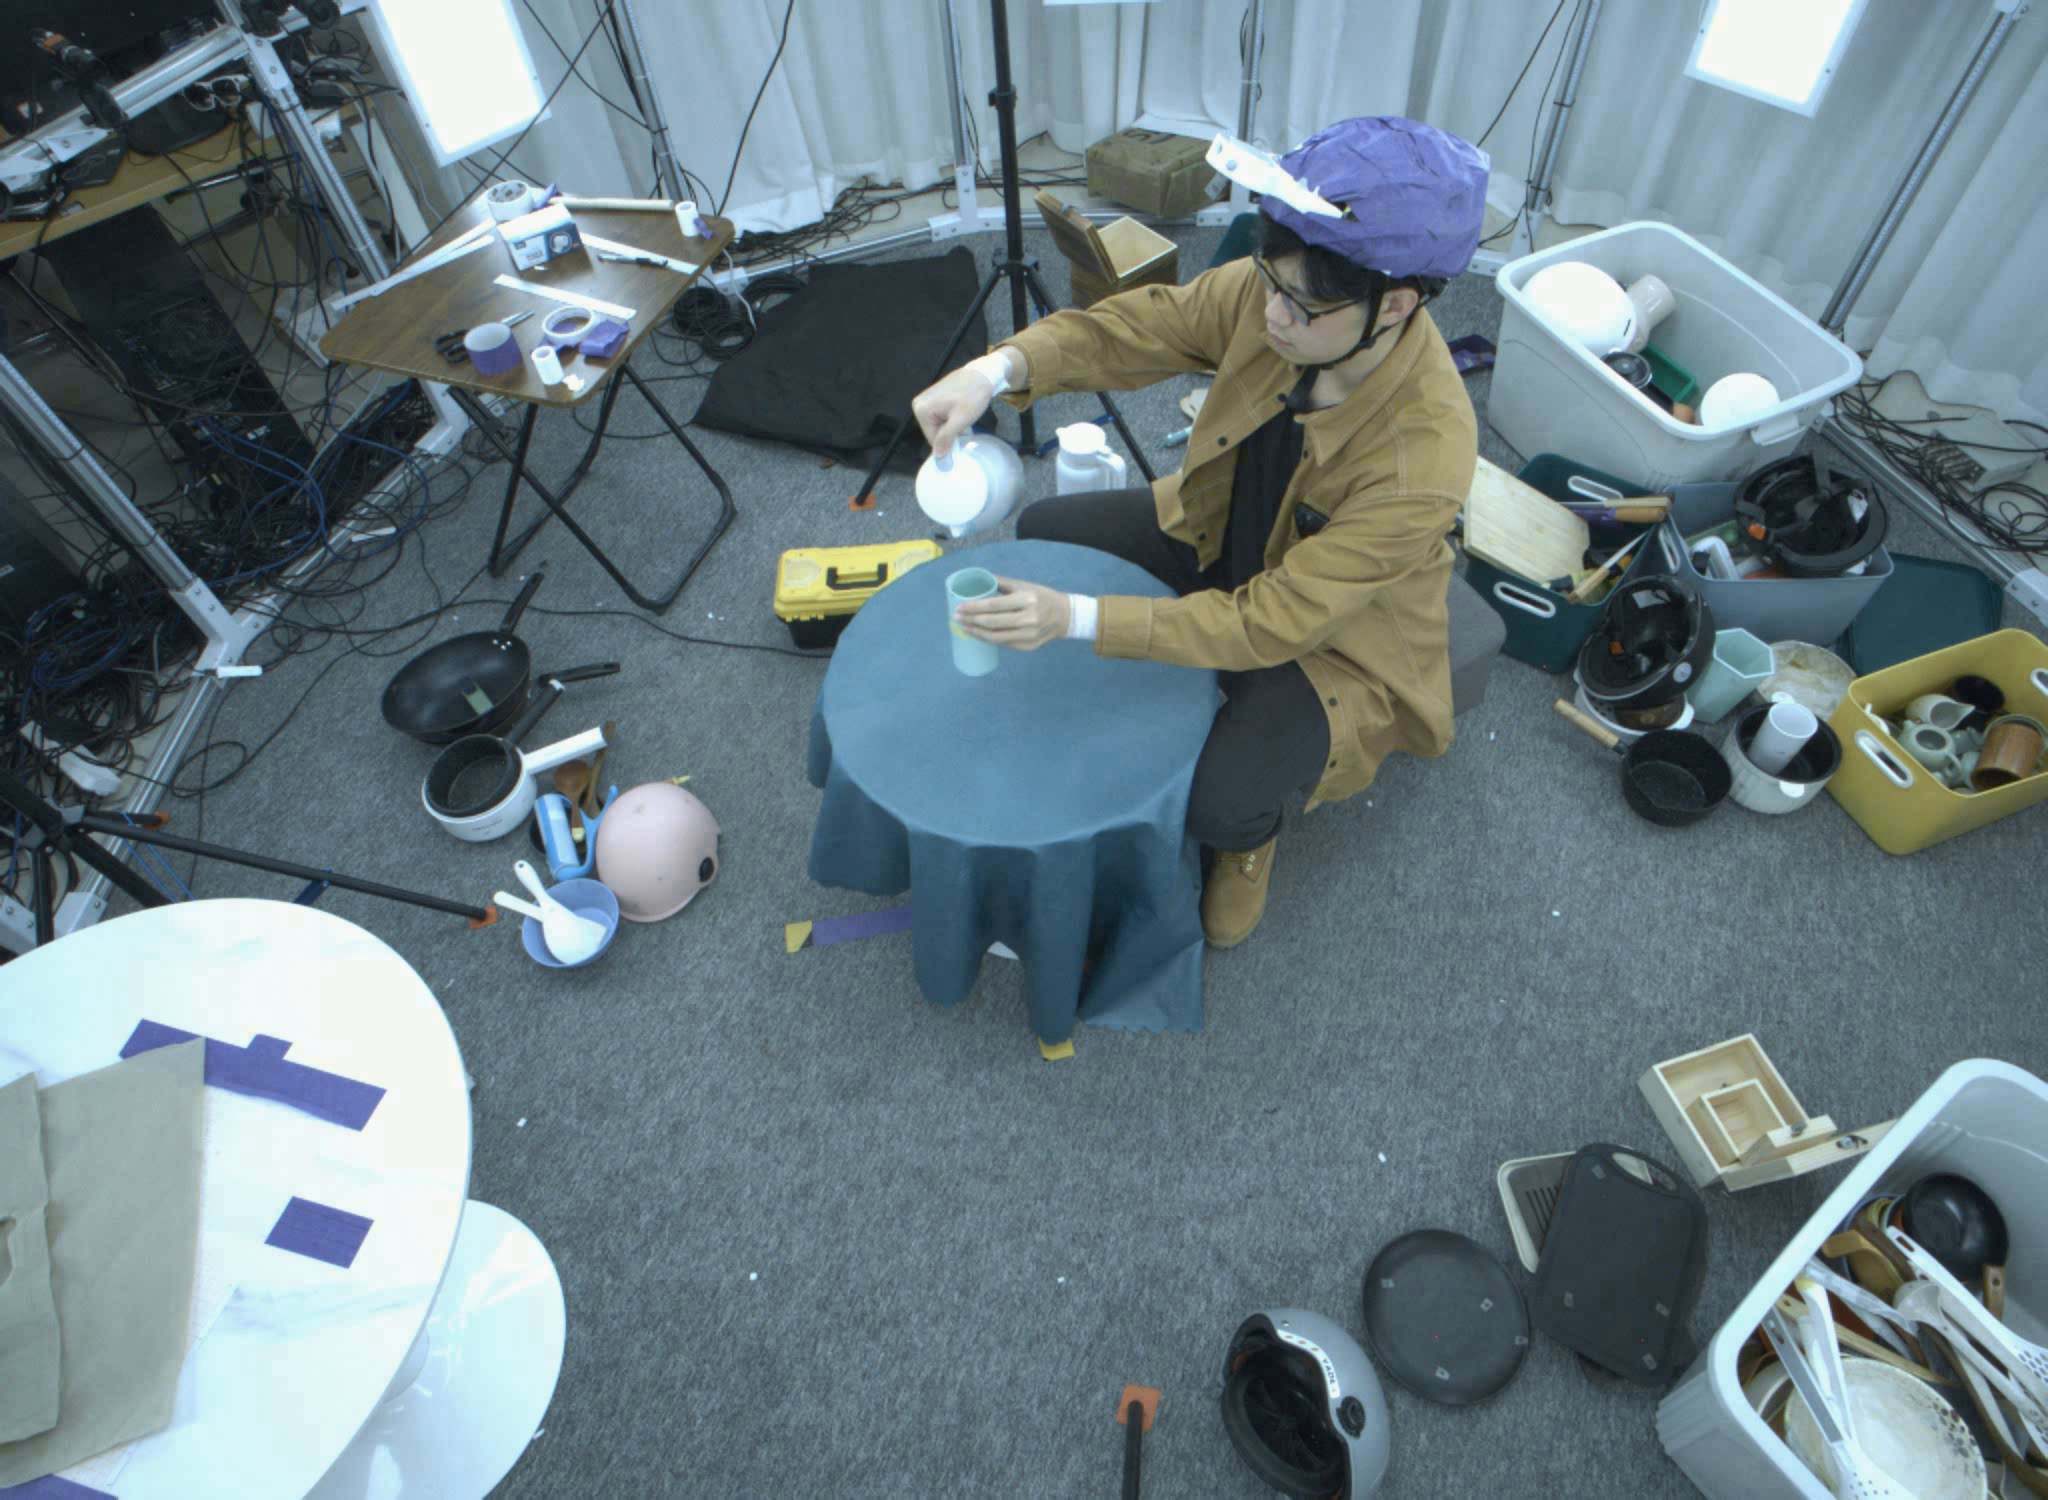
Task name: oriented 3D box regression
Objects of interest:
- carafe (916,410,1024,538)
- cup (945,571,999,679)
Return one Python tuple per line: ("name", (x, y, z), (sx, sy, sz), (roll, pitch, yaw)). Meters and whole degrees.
("carafe", (-0.083, -0.374, 1.623), (0.132, 0.169, 0.248), (-7, 15, 8))
("cup", (-0.066, -0.165, 1.615), (0.067, 0.134, 0.066), (-1, 45, 2))
